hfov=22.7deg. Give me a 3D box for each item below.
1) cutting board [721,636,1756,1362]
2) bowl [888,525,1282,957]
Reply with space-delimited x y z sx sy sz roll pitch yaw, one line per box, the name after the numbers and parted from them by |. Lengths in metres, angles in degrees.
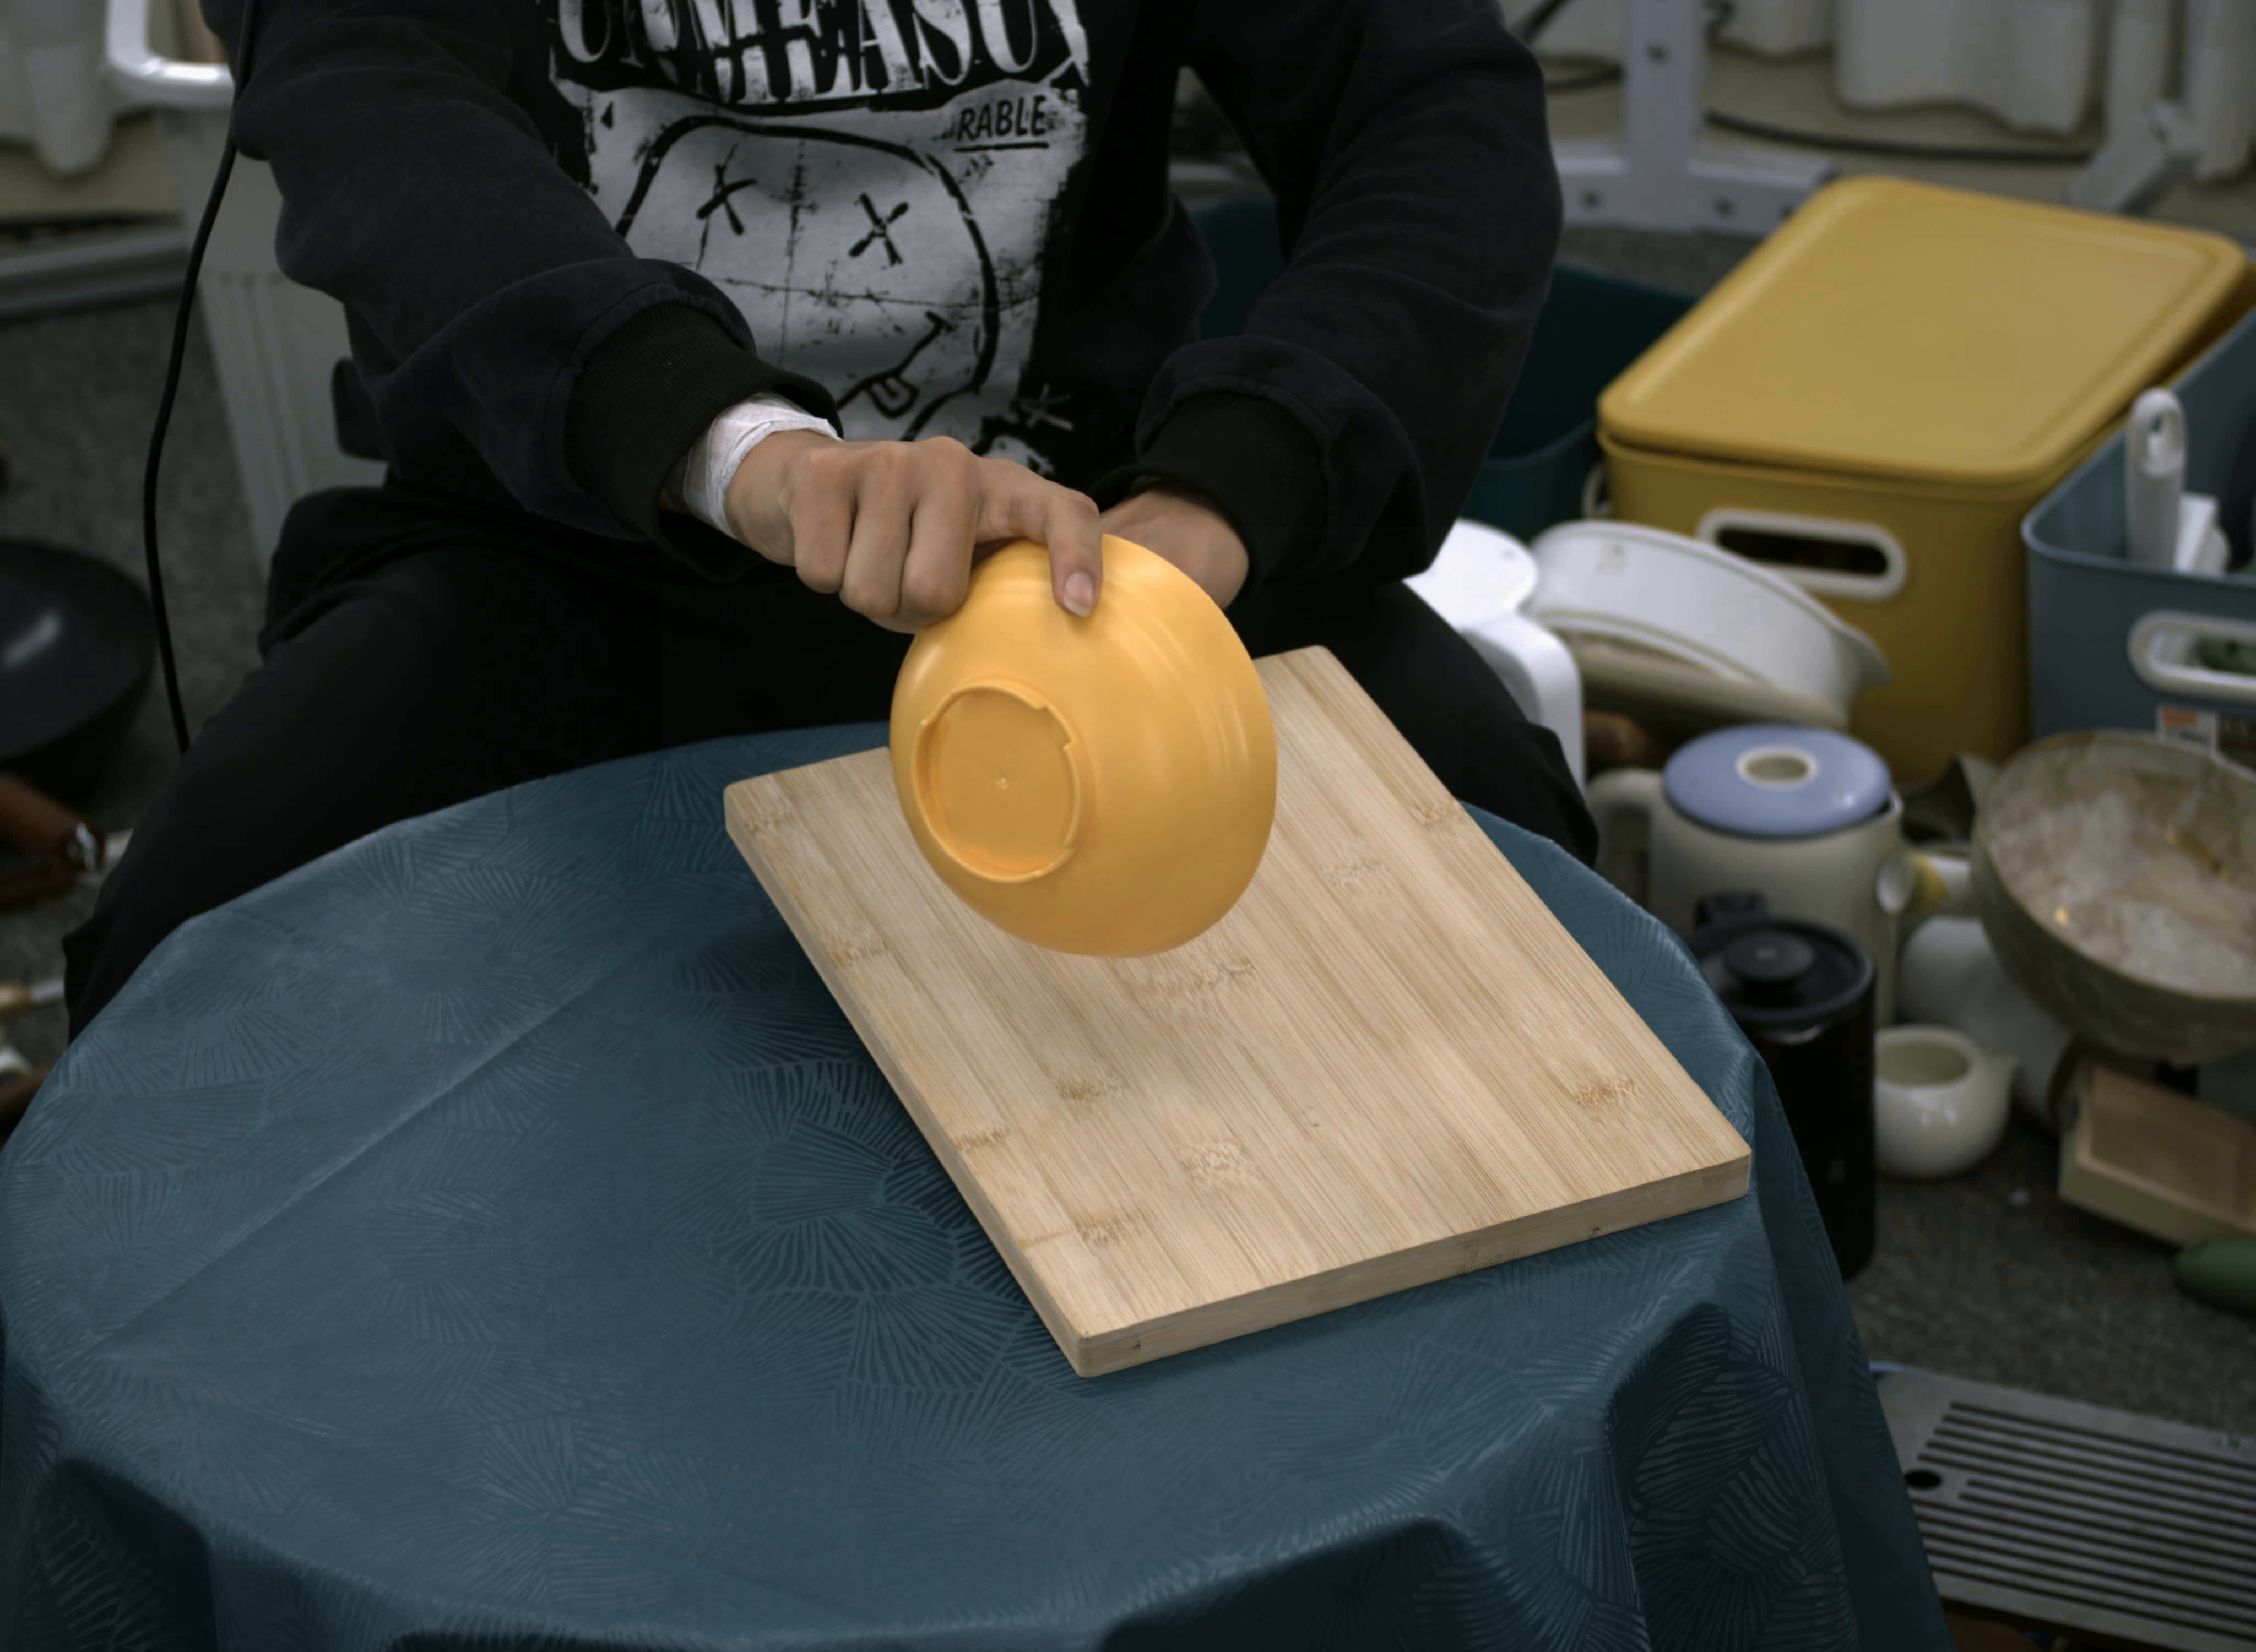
0.029 0.051 1.933 0.251 0.023 0.352 -14 36 -20 | cutting board
-0.026 -0.022 1.823 0.144 0.144 0.061 13 18 28 | bowl
